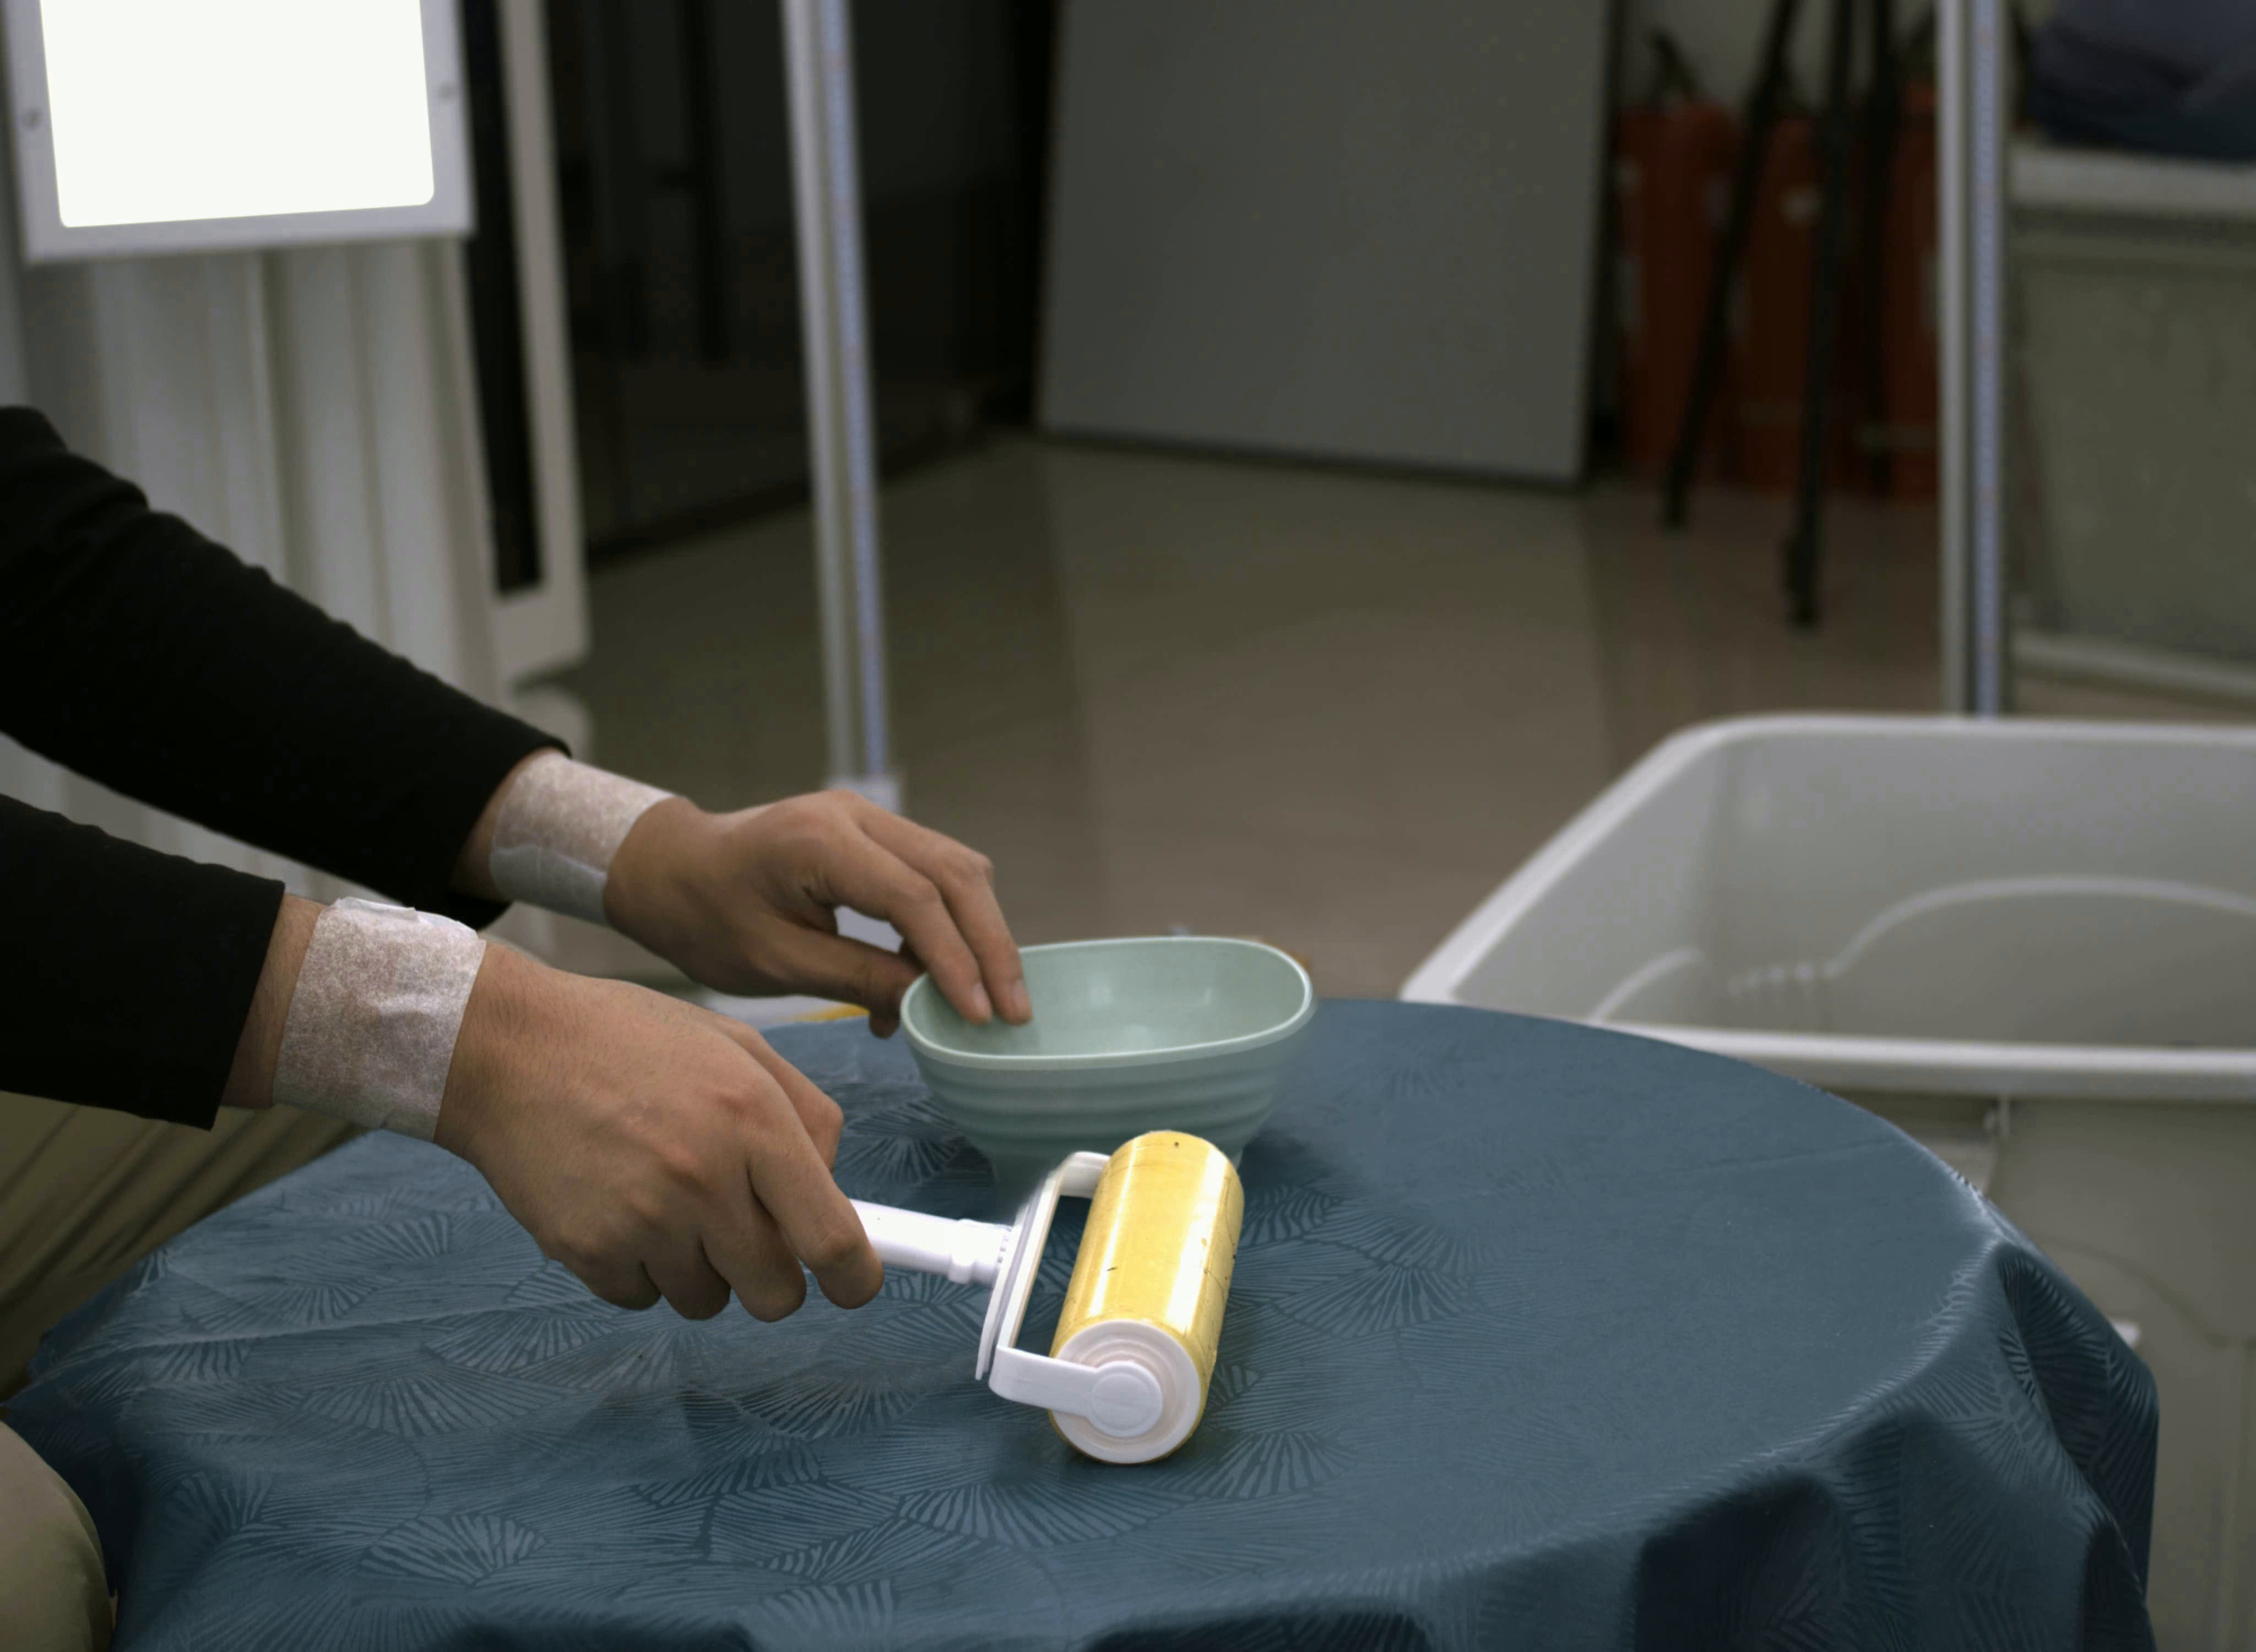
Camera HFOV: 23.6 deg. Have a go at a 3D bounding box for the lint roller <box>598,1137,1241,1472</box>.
[{"bbox_3d":[-0.060,0.116,1.595,0.190,0.052,0.174,21,16,-1],"label":"lint roller"}]

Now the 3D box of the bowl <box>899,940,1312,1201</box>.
[{"bbox_3d":[-0.007,0.085,1.800,0.149,0.059,0.152,-2,14,0],"label":"bowl"}]
